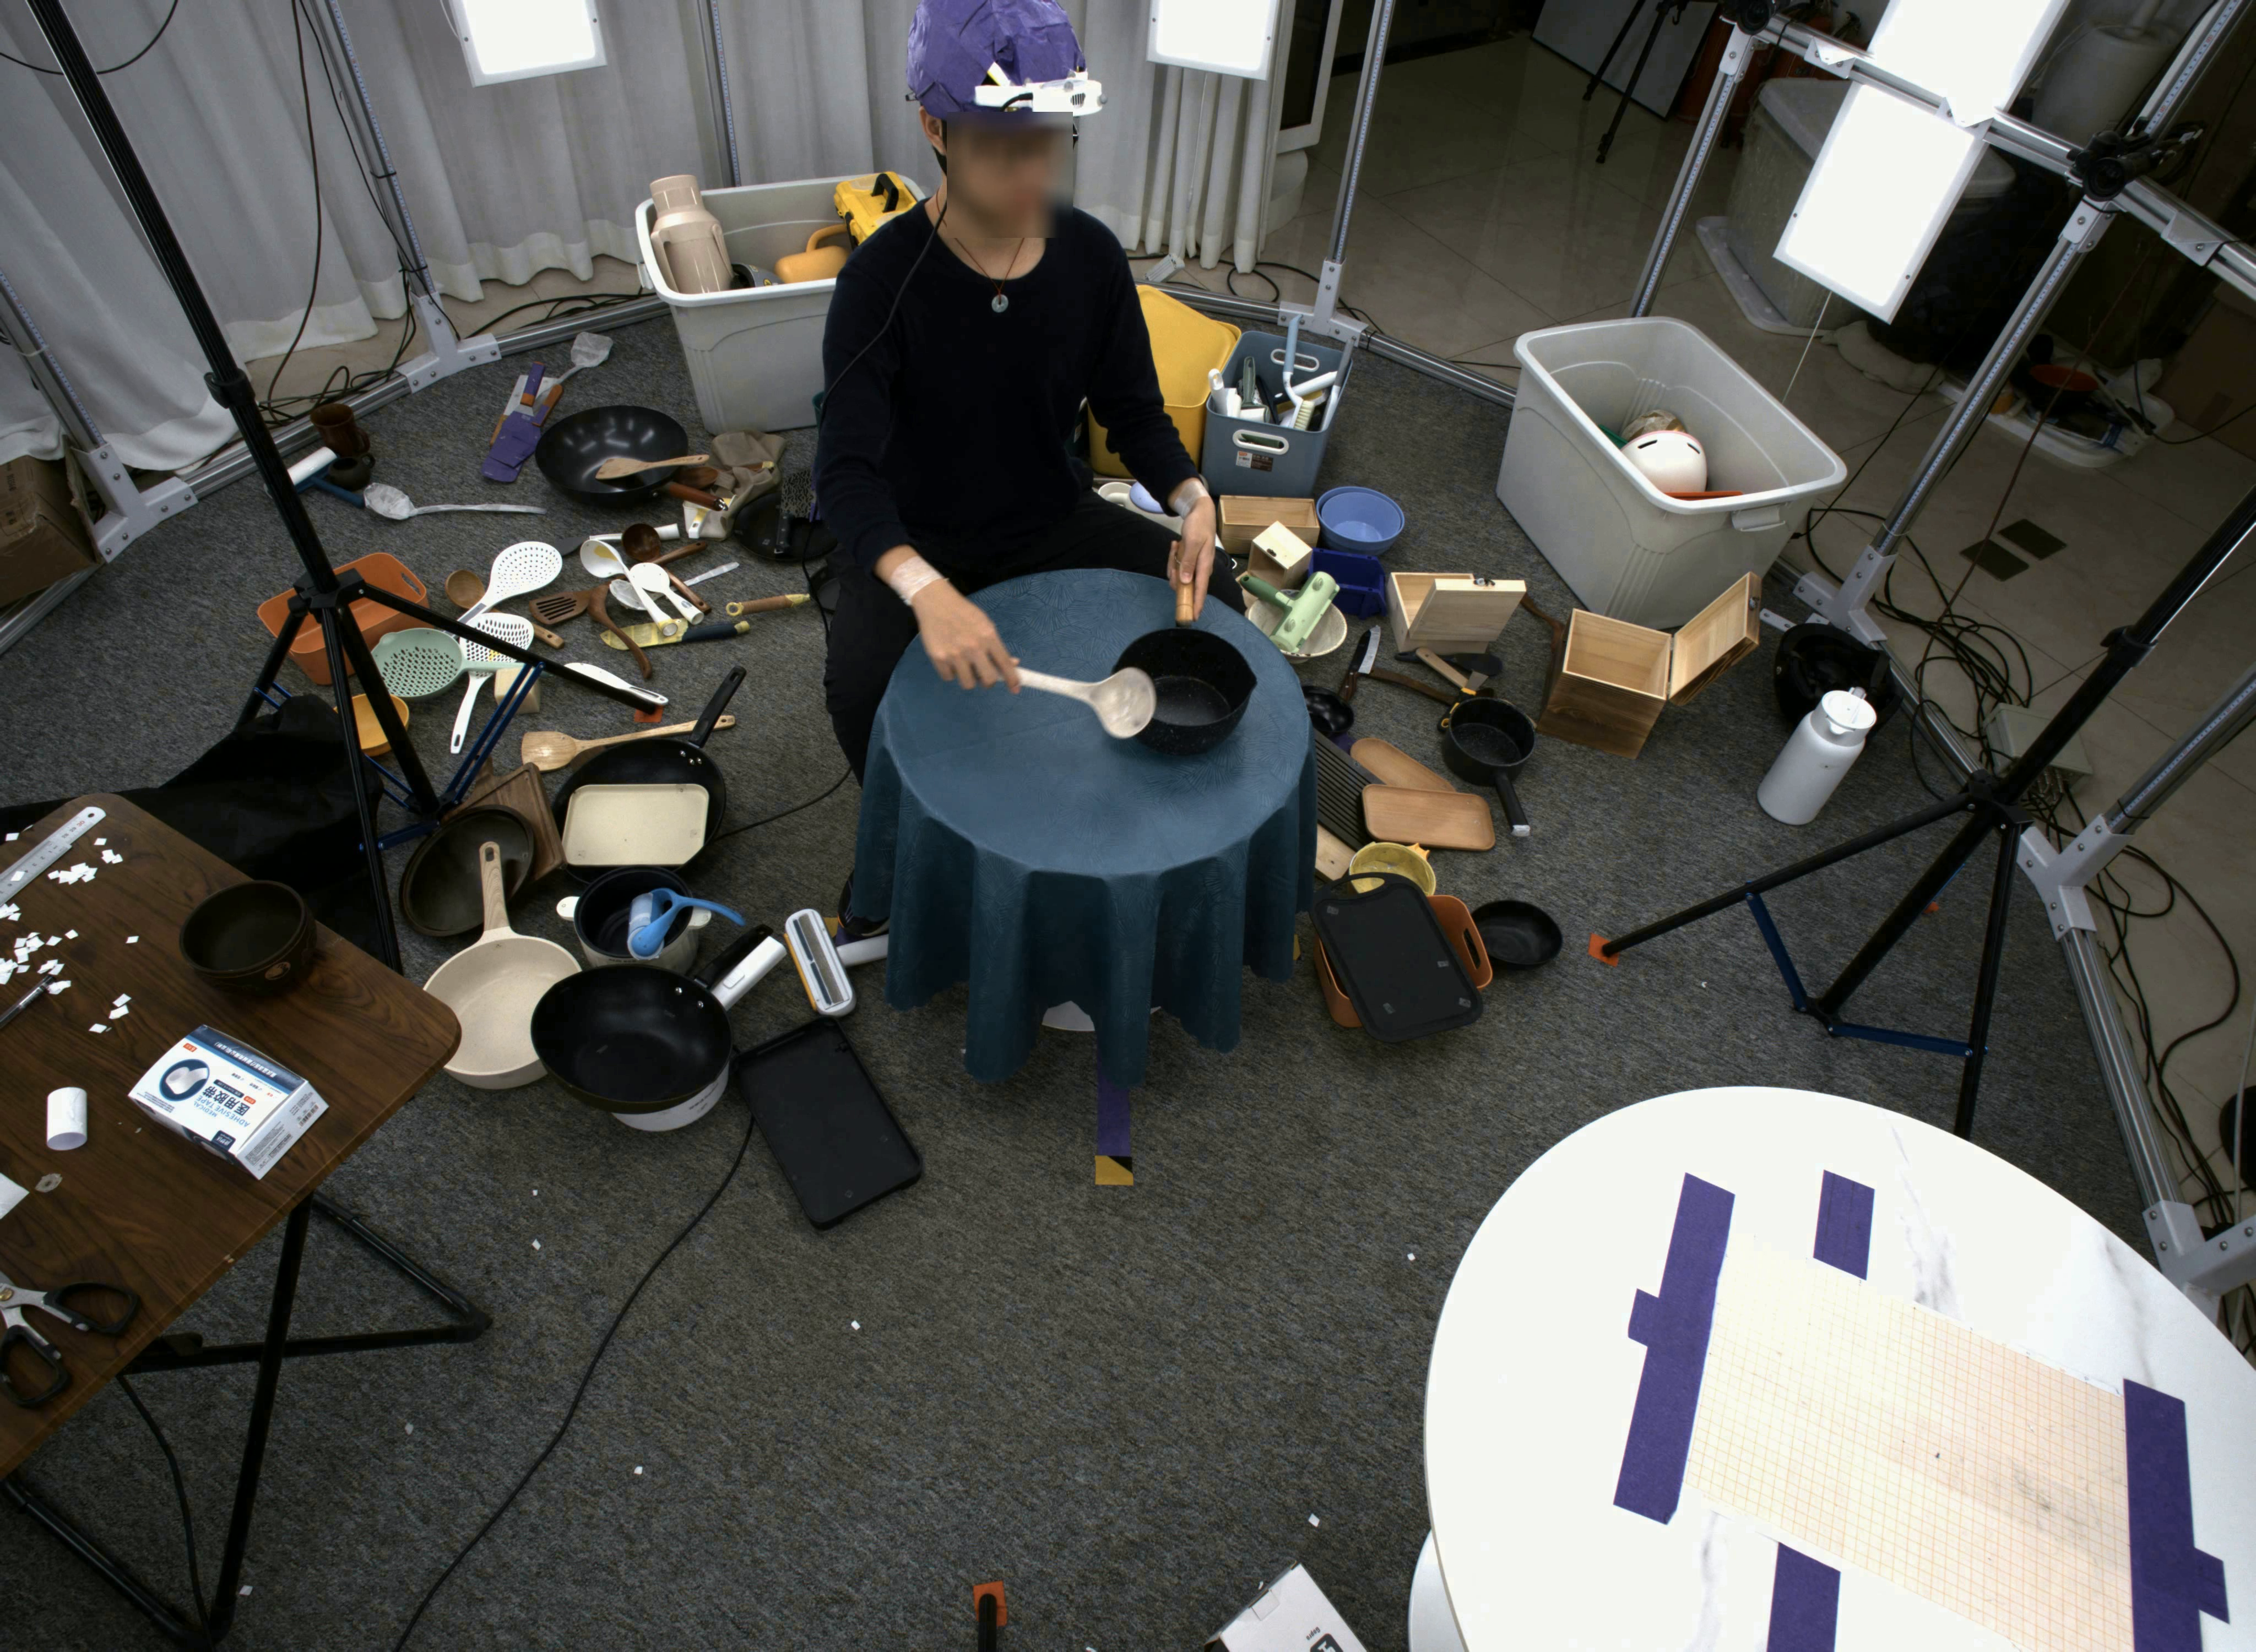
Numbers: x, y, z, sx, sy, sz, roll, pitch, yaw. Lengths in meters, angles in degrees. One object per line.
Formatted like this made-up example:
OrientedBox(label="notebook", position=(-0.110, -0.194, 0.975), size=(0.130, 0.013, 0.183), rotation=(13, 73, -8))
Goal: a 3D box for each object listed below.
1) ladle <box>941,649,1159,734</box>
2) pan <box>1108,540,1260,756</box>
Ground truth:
OrientedBox(label="ladle", position=(-0.094, -0.180, 1.605), size=(0.273, 0.088, 0.070), rotation=(10, 14, -23))
OrientedBox(label="pan", position=(0.076, -0.251, 1.814), size=(0.207, 0.105, 0.351), rotation=(2, 53, -1))
